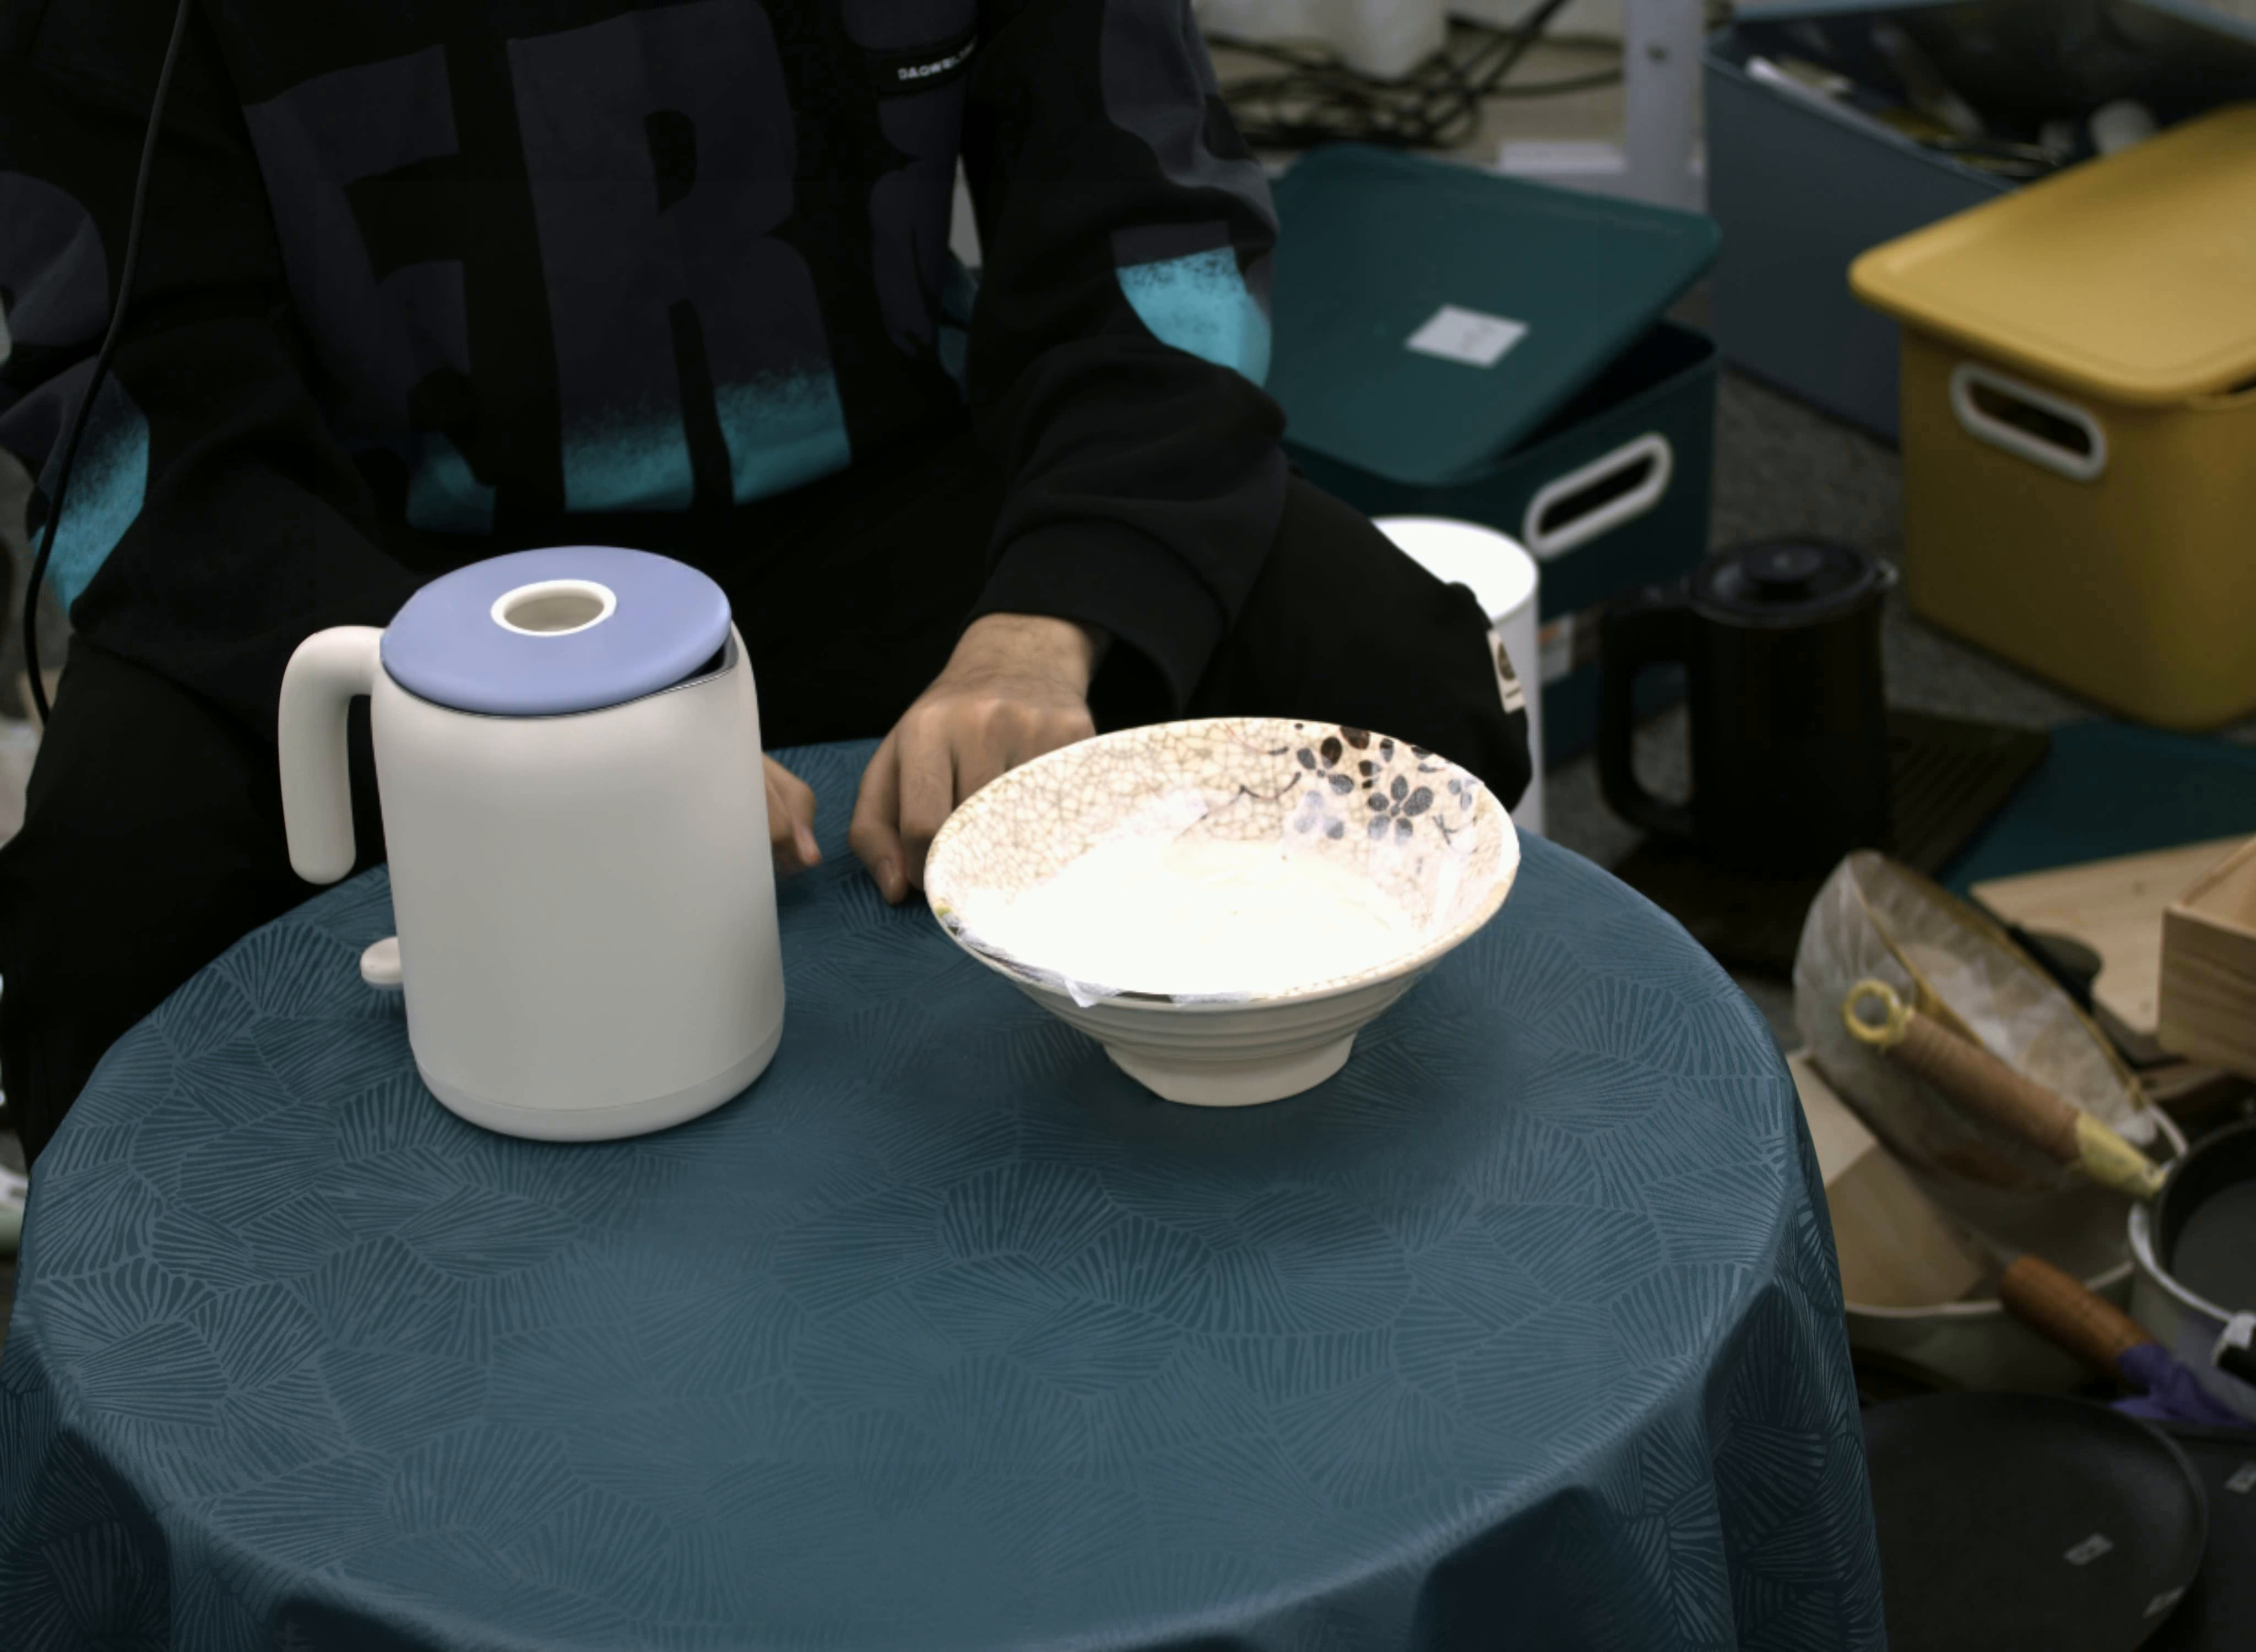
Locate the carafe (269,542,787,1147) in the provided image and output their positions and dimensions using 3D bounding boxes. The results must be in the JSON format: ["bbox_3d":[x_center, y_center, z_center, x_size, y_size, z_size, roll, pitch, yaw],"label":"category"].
[{"bbox_3d":[-0.210,0.003,1.926,0.190,0.181,0.134,6,27,23],"label":"carafe"}]

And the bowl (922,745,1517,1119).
[{"bbox_3d":[0.032,0.047,1.925,0.203,0.077,0.207,-2,23,1],"label":"bowl"}]
